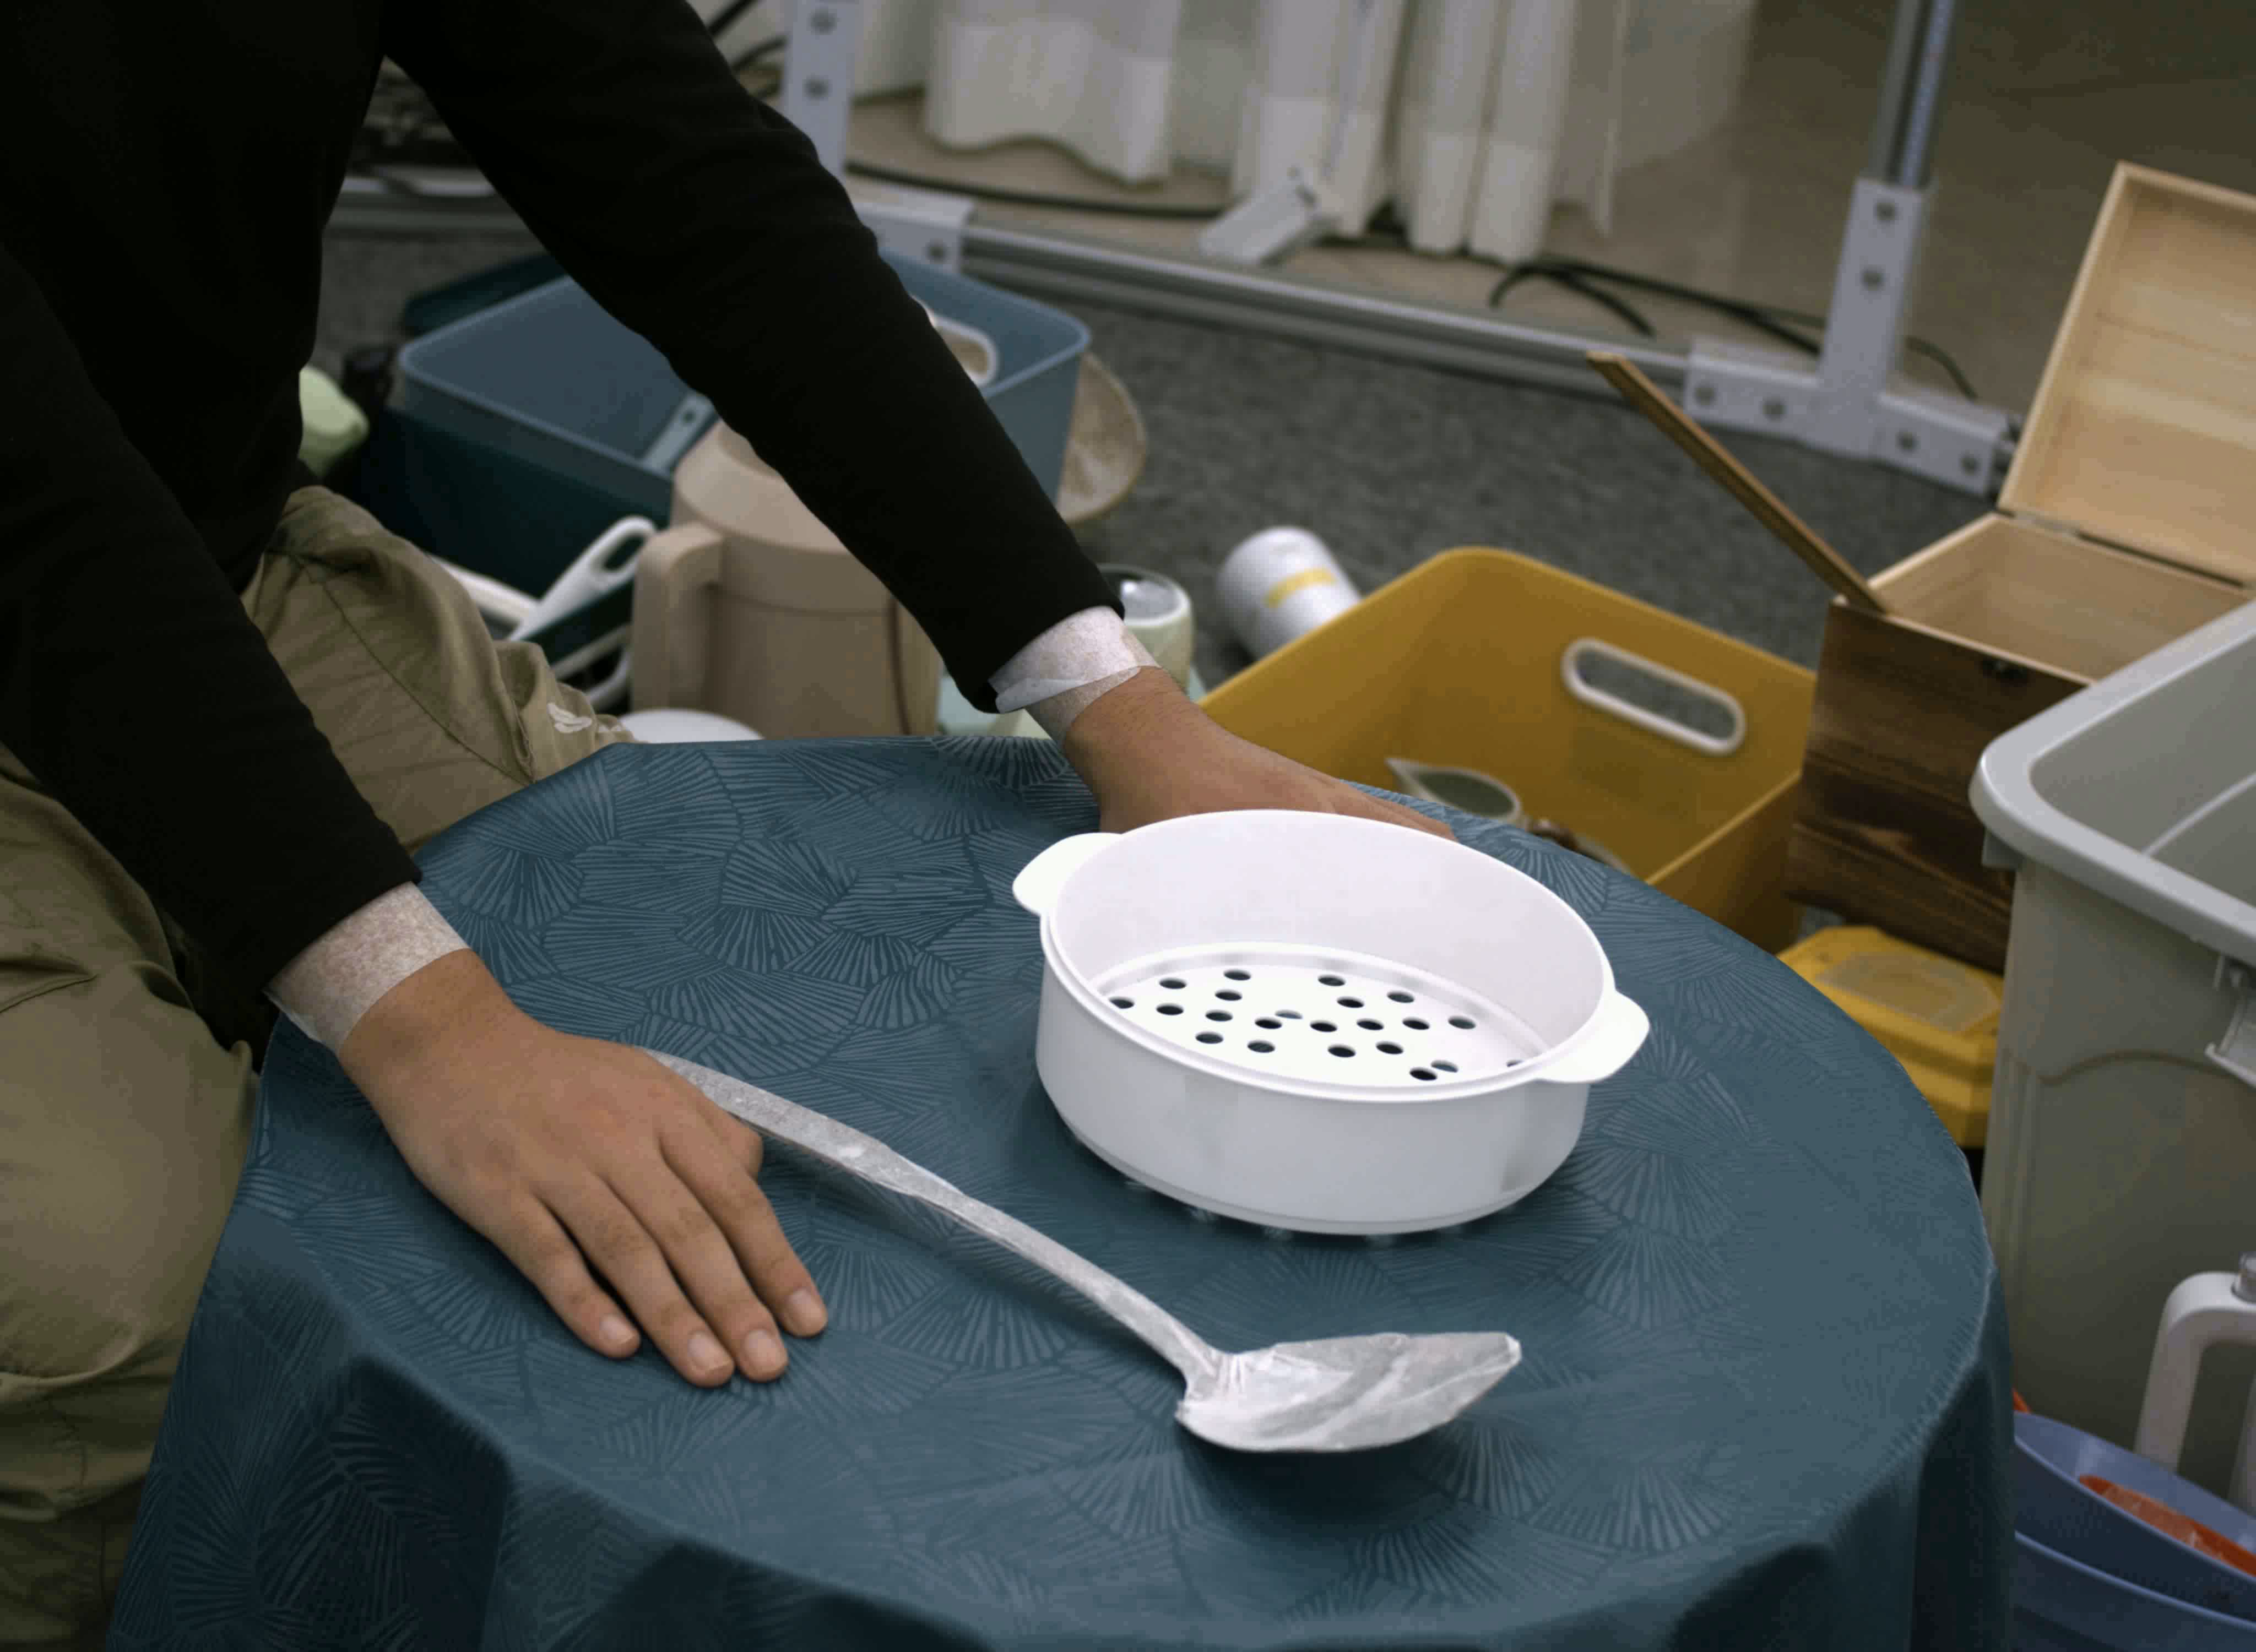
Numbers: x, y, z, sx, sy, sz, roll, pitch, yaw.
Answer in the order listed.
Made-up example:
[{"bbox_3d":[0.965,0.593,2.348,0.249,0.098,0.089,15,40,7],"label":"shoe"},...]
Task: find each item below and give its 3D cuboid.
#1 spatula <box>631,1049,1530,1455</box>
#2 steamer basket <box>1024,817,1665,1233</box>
[{"bbox_3d":[-0.035,0.130,1.740,0.367,0.044,0.098,25,34,32],"label":"spatula"},{"bbox_3d":[0.070,0.069,1.847,0.231,0.069,0.201,17,28,22],"label":"steamer basket"}]
